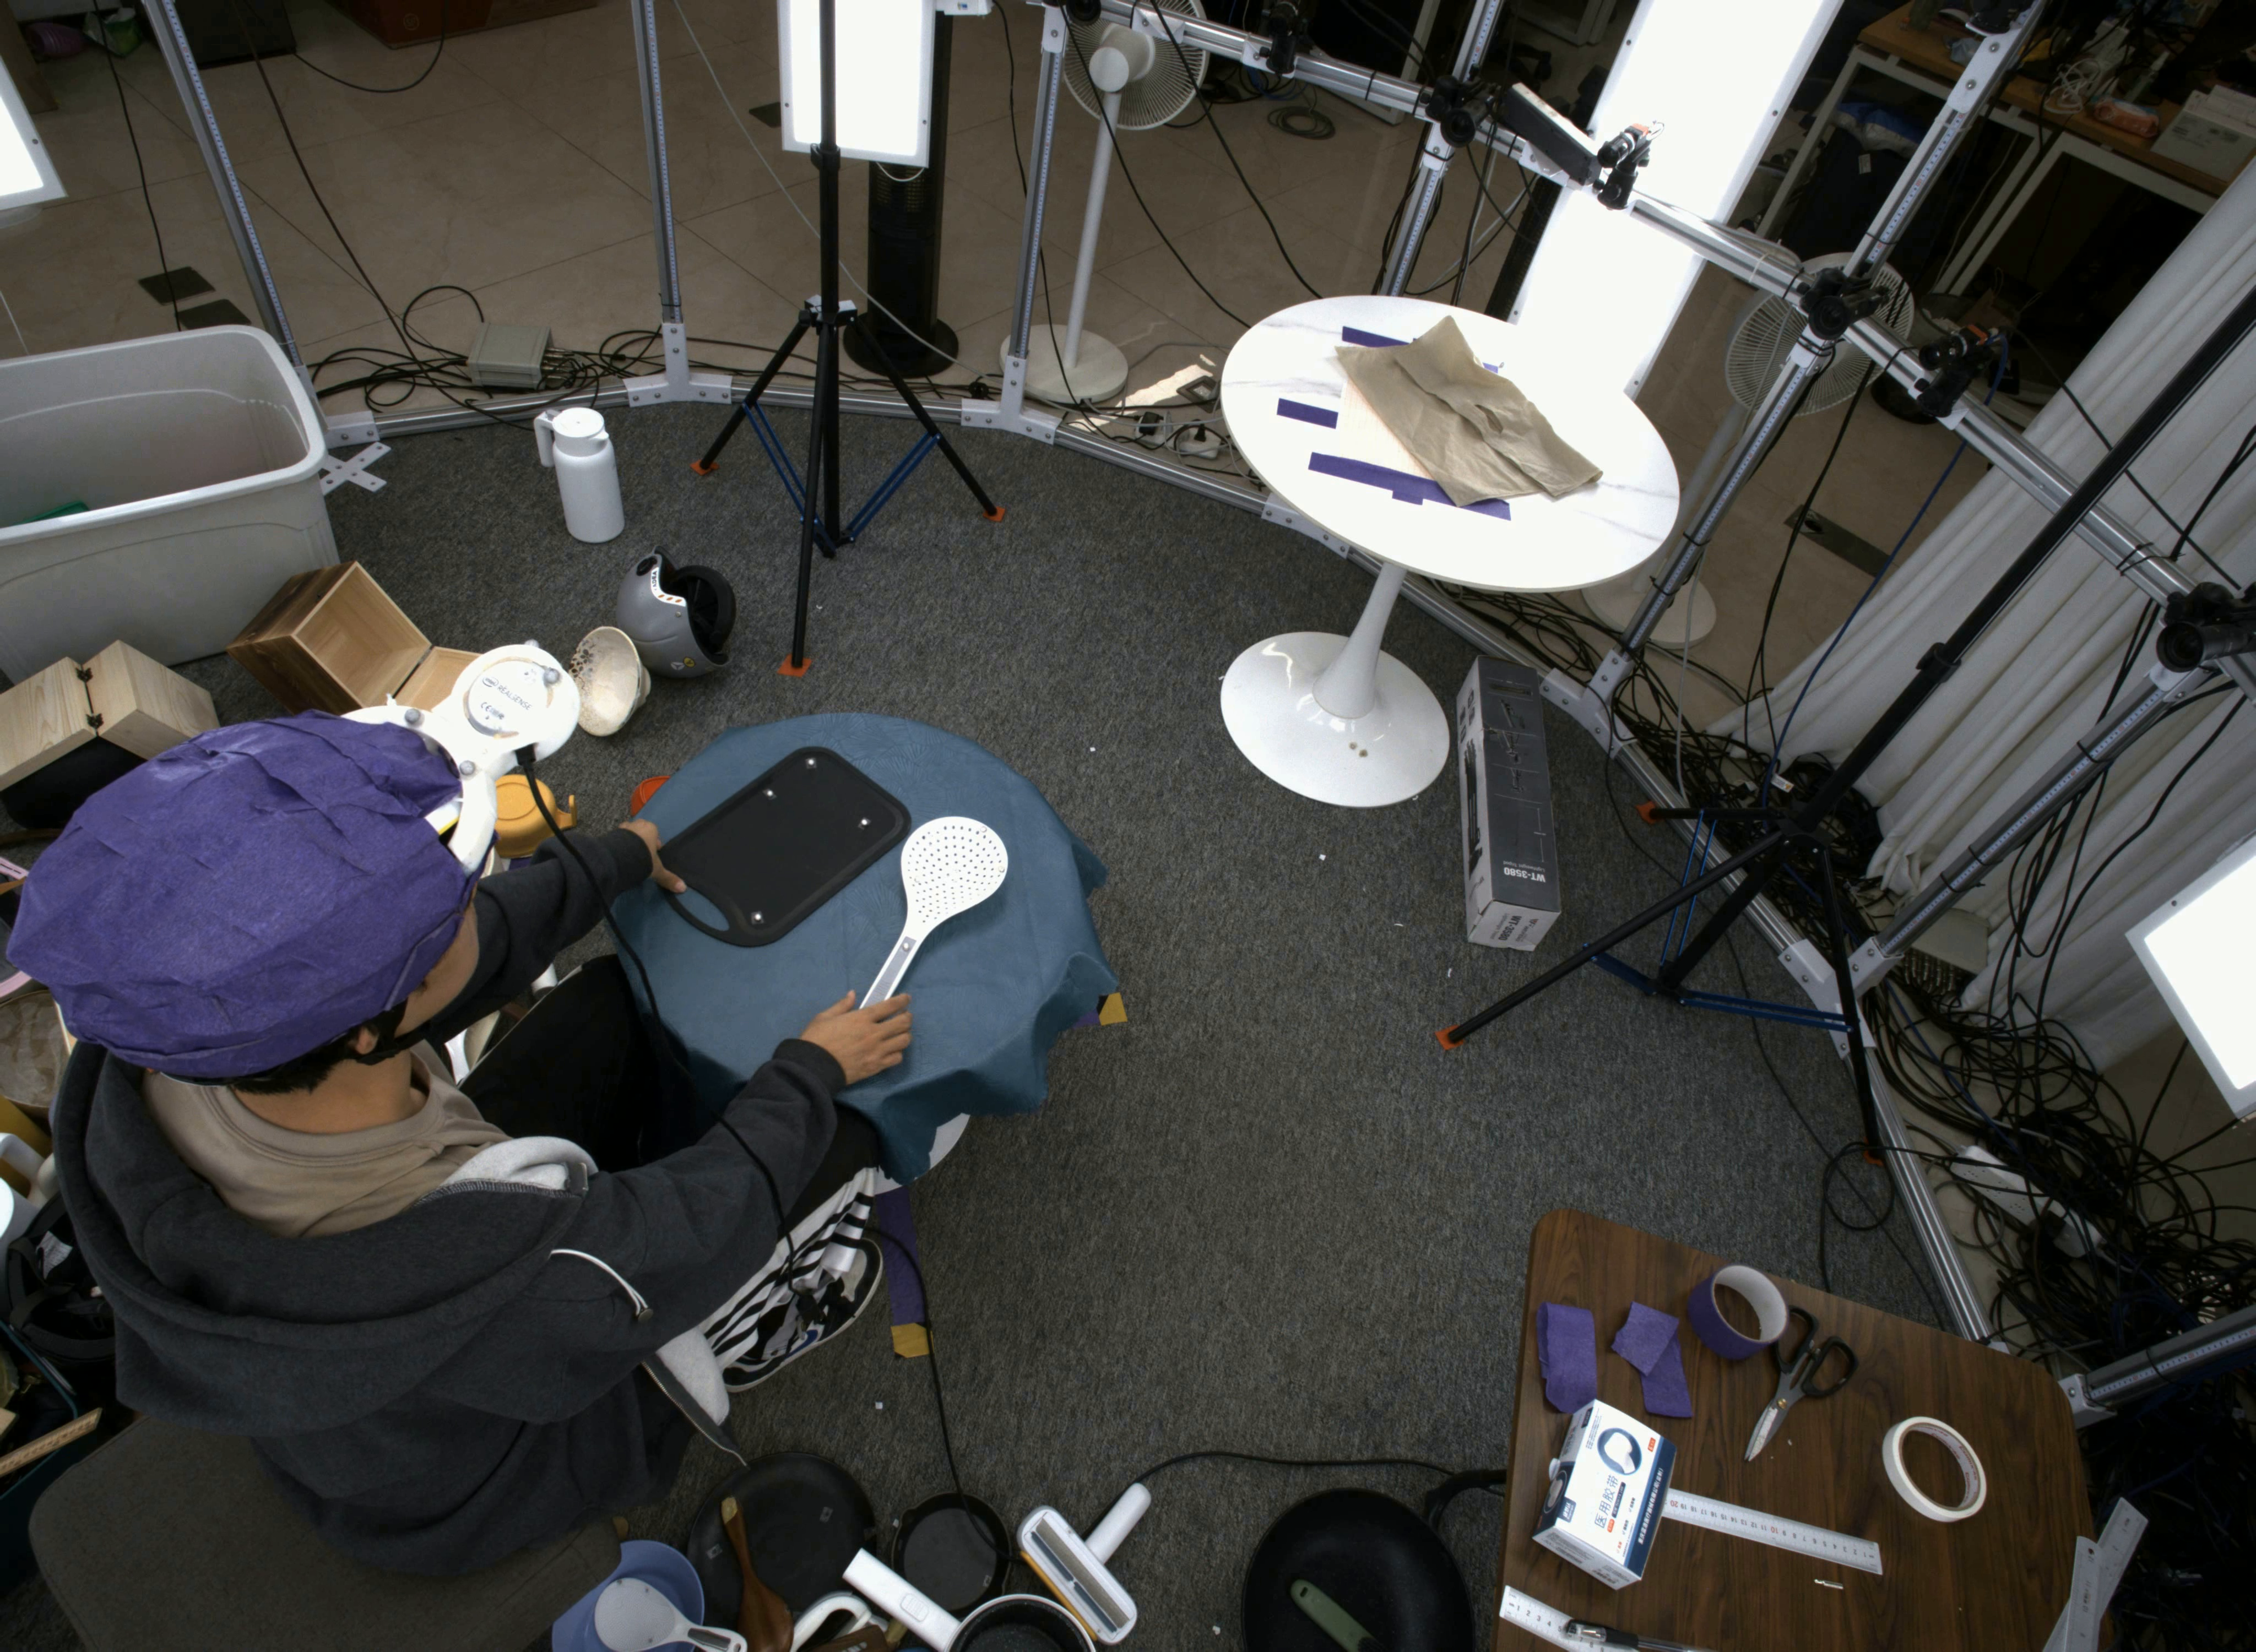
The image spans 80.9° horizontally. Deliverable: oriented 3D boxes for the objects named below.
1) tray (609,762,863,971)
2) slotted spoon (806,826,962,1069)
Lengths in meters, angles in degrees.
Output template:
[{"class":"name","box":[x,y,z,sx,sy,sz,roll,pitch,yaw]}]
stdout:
[{"class":"tray","box":[-0.509,0.047,1.668,0.207,0.010,0.325,34,53,12]},{"class":"slotted spoon","box":[-0.314,0.144,1.620,0.134,0.047,0.346,19,52,3]}]
